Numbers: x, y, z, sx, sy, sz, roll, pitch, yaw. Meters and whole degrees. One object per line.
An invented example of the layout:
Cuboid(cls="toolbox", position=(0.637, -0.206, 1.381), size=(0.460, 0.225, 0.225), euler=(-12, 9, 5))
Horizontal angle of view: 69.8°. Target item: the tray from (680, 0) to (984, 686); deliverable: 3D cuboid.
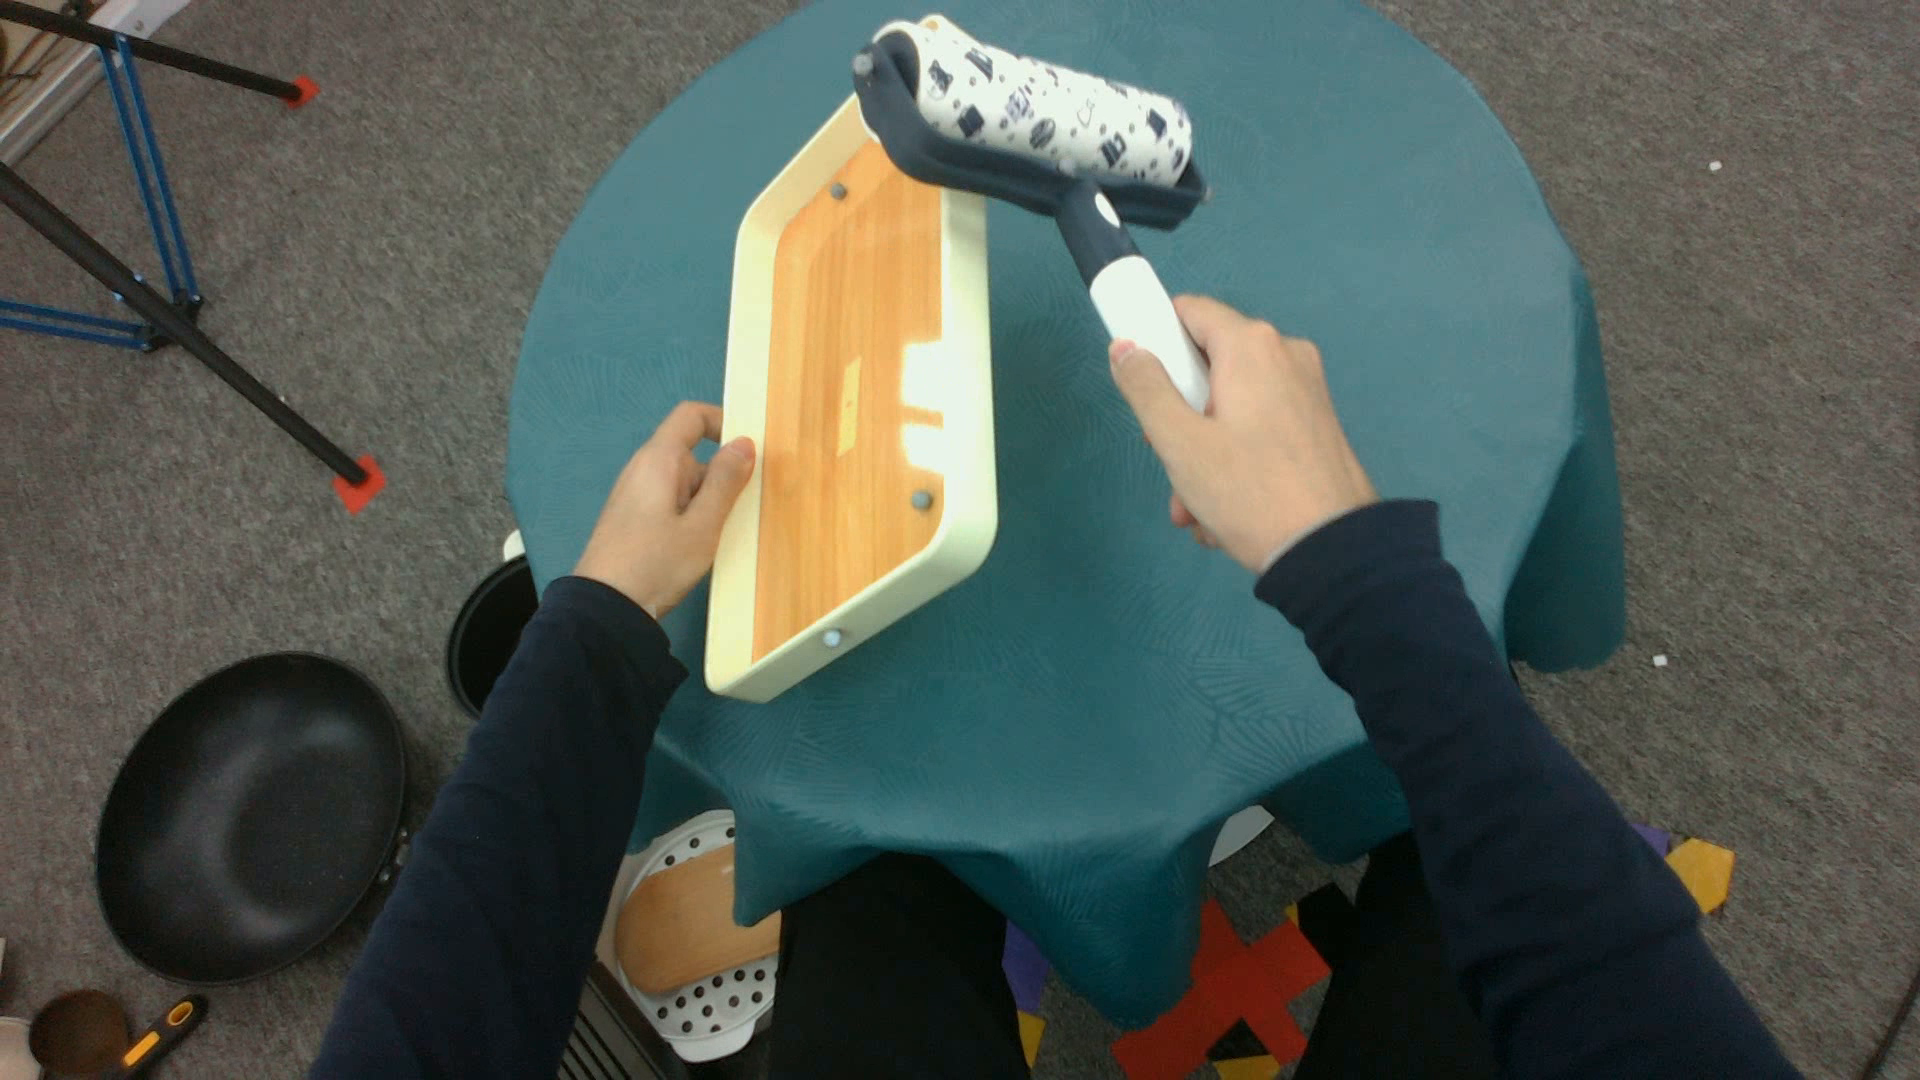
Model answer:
Cuboid(cls="tray", position=(-0.065, -0.096, 0.651), size=(0.190, 0.027, 0.301), euler=(-31, 49, 40))

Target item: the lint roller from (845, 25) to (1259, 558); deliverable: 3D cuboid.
Cuboid(cls="lint roller", position=(0.066, -0.104, 0.572), size=(0.050, 0.177, 0.247), euler=(-46, 59, 37))
